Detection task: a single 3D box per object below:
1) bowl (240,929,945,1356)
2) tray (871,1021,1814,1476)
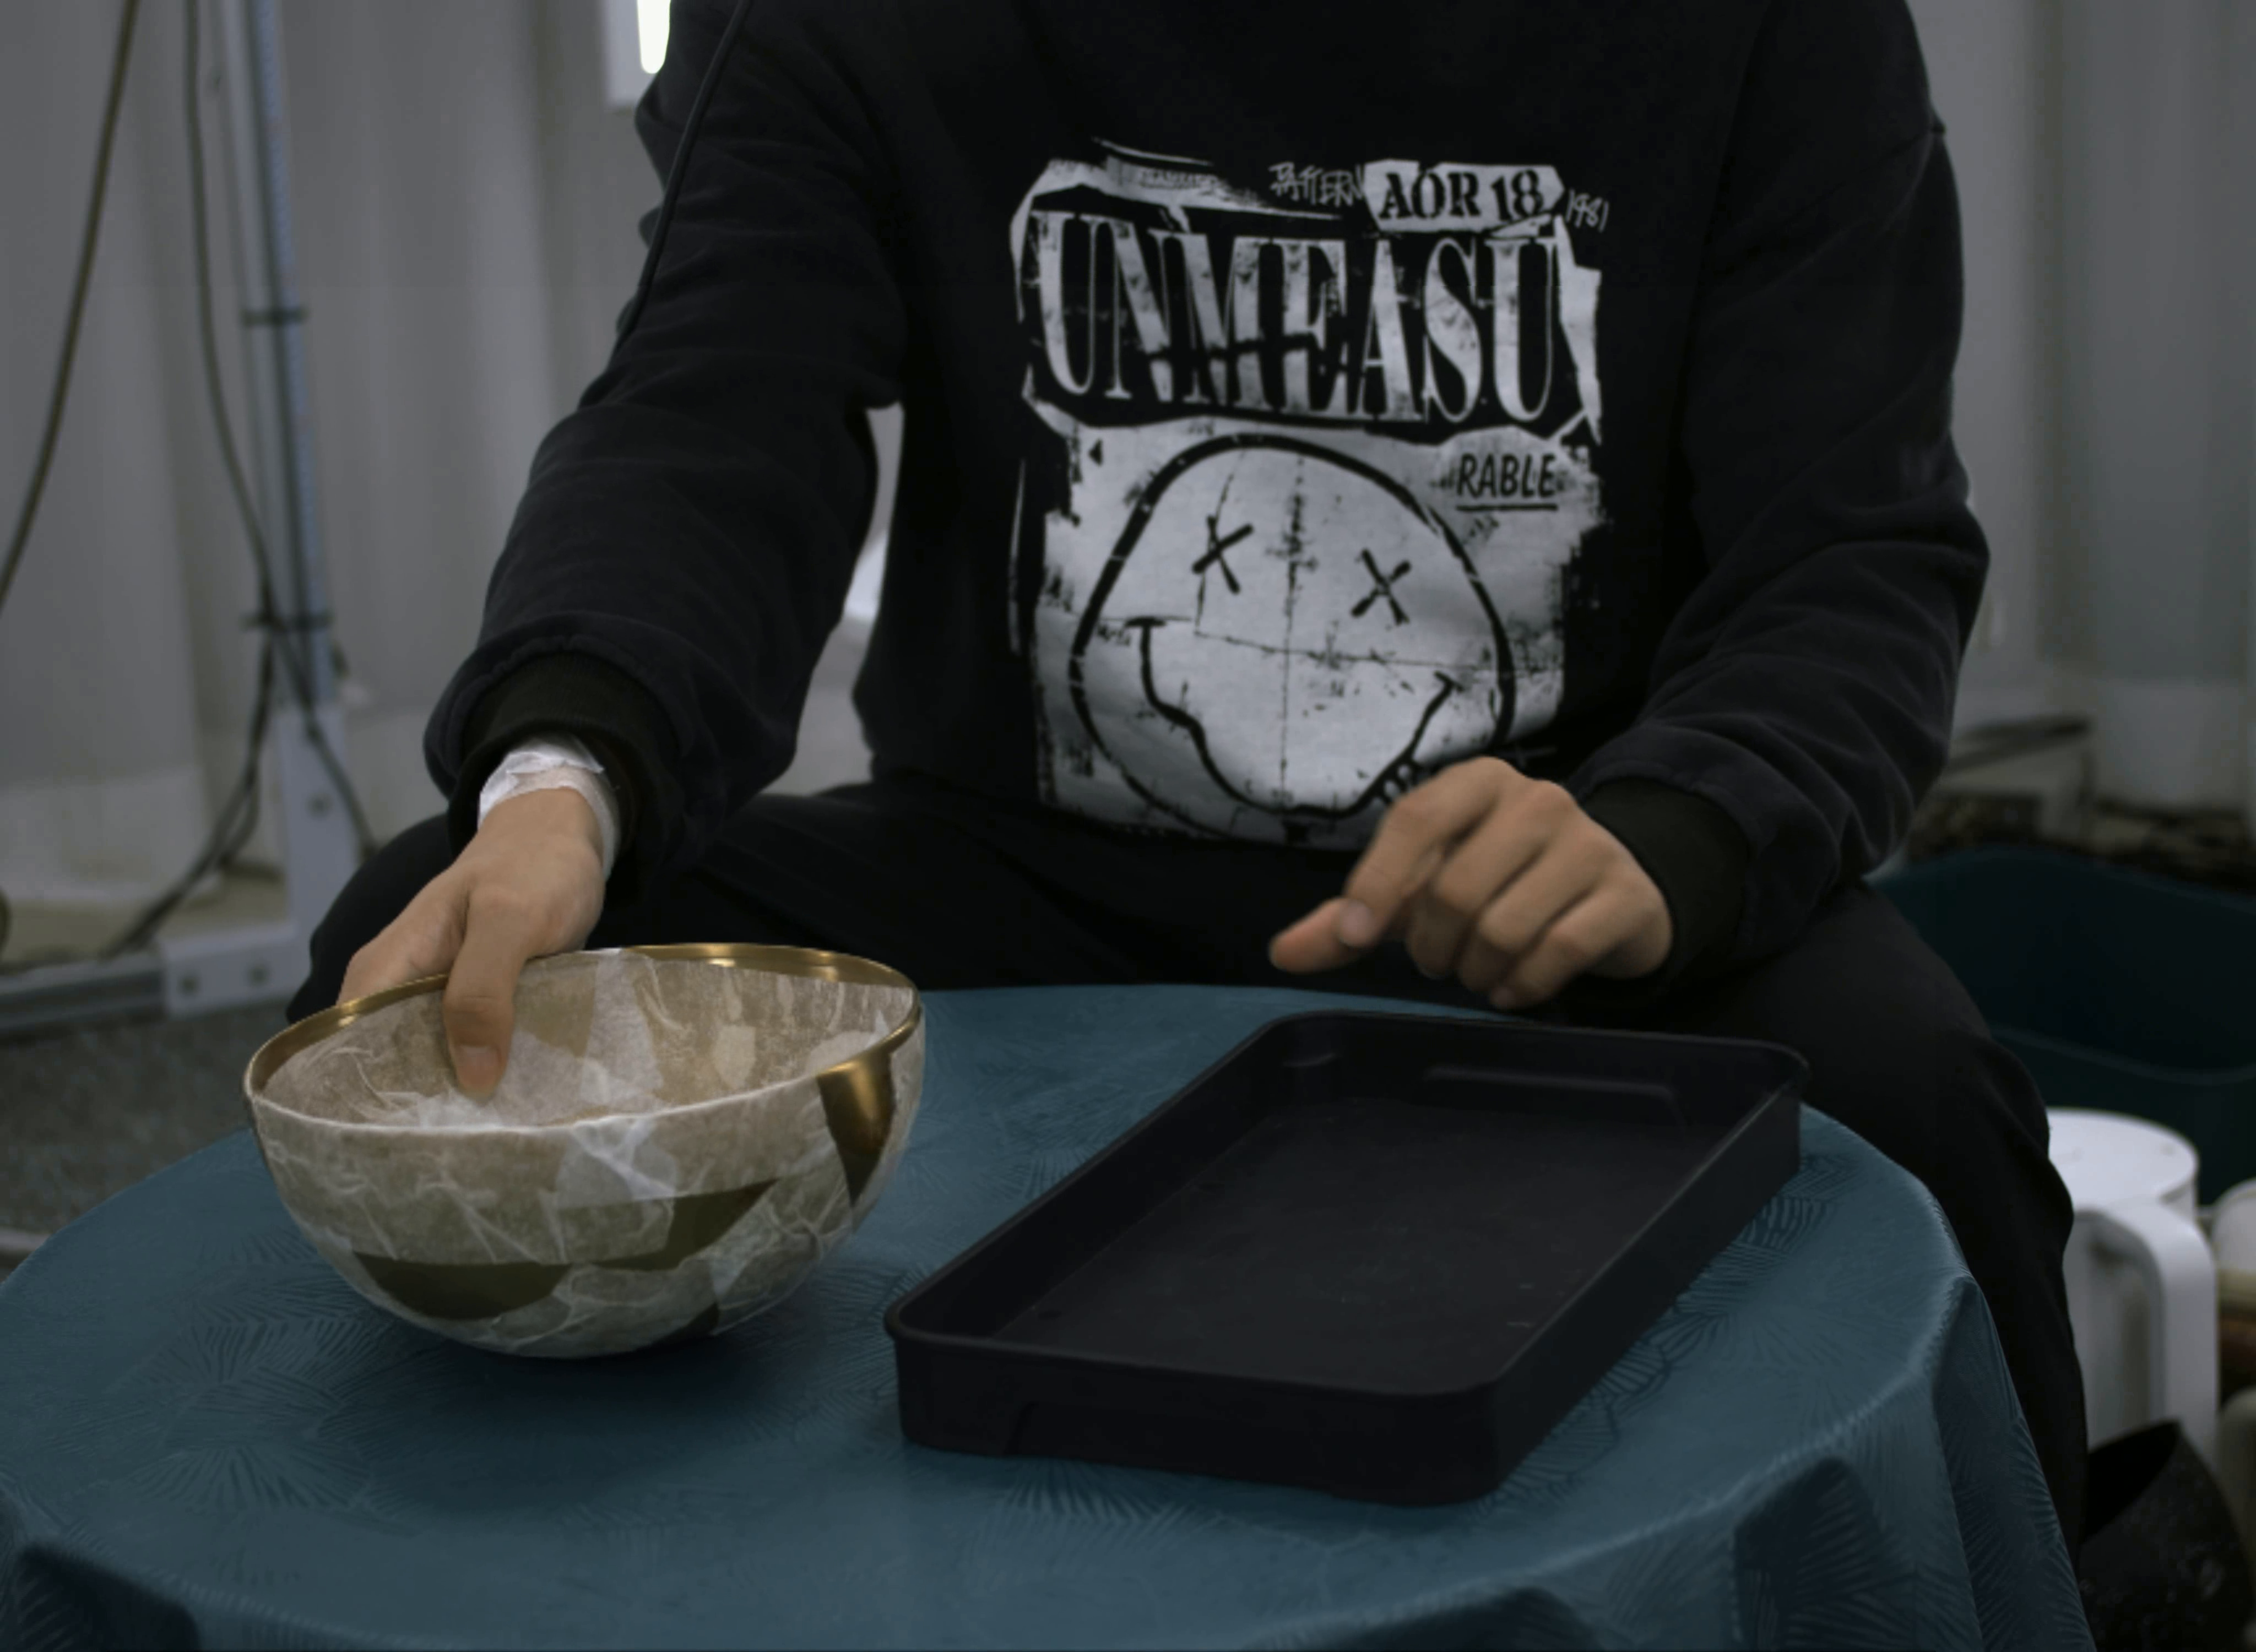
[{"bbox_3d":[-0.152,0.101,1.612,0.214,0.094,0.216,-6,12,1],"label":"bowl"},{"bbox_3d":[0.072,0.118,1.609,0.184,0.037,0.318,3,14,25],"label":"tray"}]
